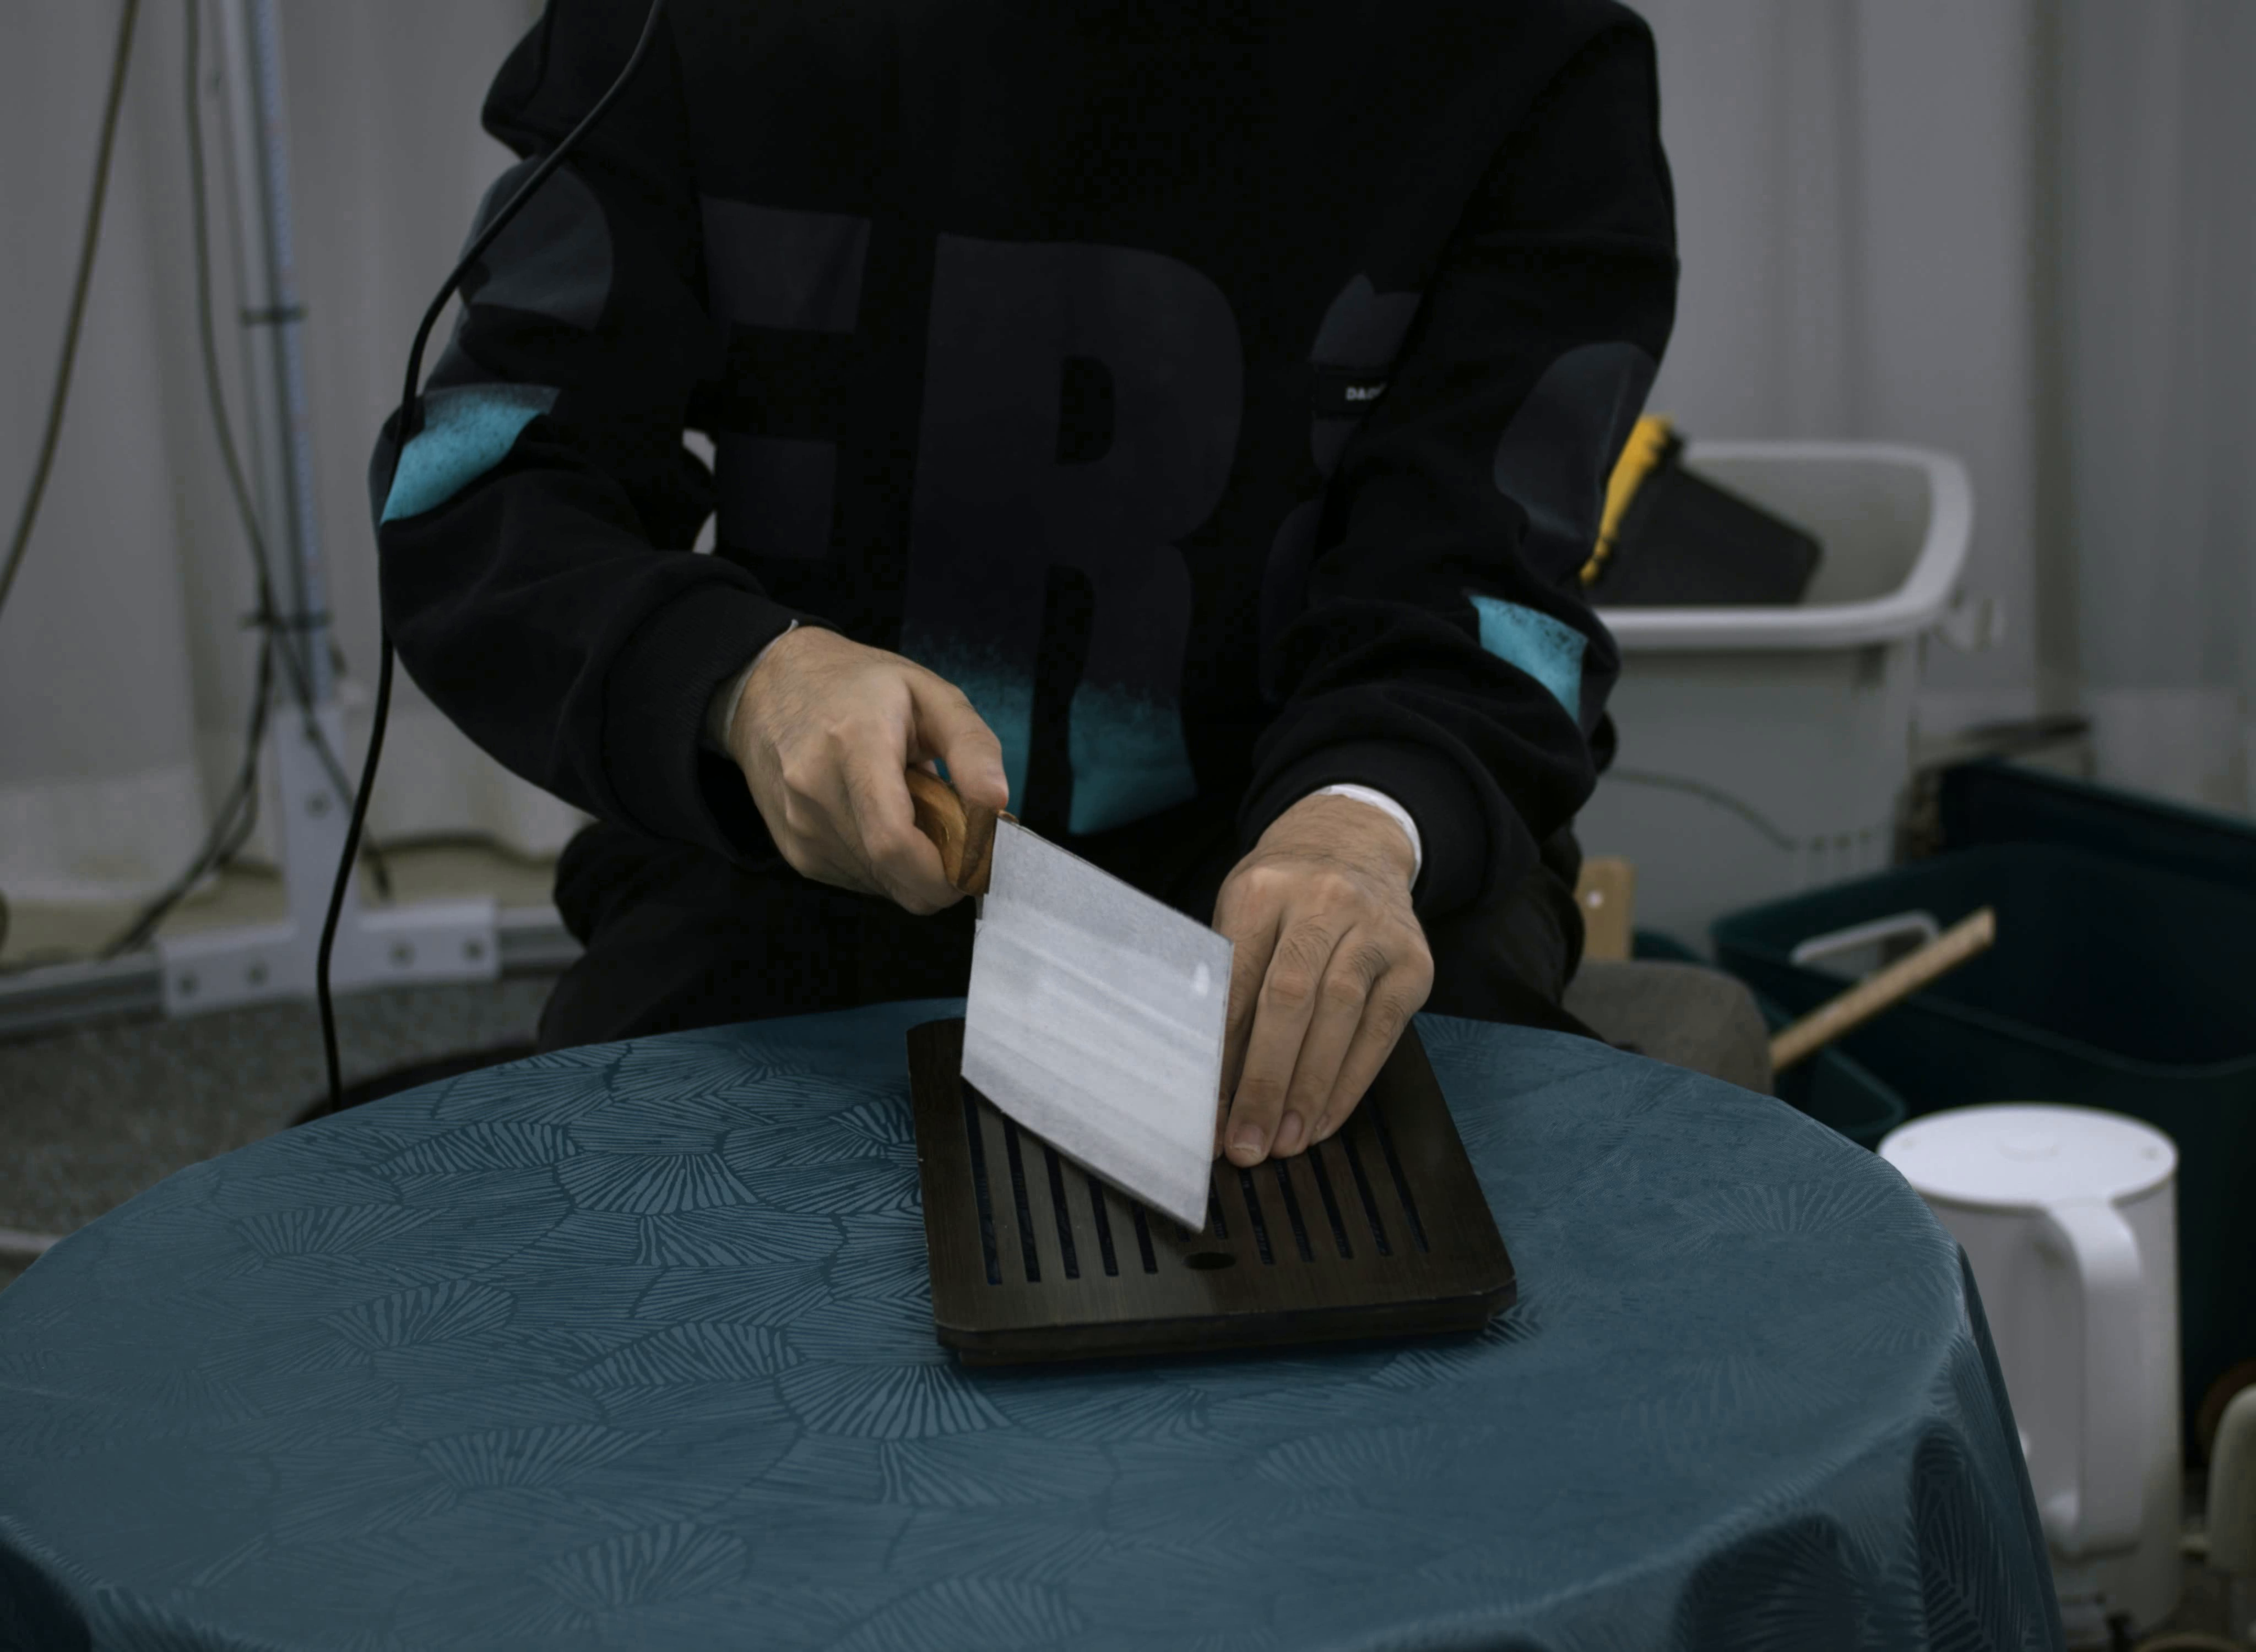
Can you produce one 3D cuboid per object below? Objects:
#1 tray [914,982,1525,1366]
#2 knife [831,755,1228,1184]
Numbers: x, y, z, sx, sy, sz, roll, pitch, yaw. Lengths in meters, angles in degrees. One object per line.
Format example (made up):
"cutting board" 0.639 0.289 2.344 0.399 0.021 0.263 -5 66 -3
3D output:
"tray" 0.021 0.106 1.706 0.169 0.018 0.308 -4 15 -3
"knife" -0.035 0.045 1.732 0.021 0.093 0.308 3 11 -24
